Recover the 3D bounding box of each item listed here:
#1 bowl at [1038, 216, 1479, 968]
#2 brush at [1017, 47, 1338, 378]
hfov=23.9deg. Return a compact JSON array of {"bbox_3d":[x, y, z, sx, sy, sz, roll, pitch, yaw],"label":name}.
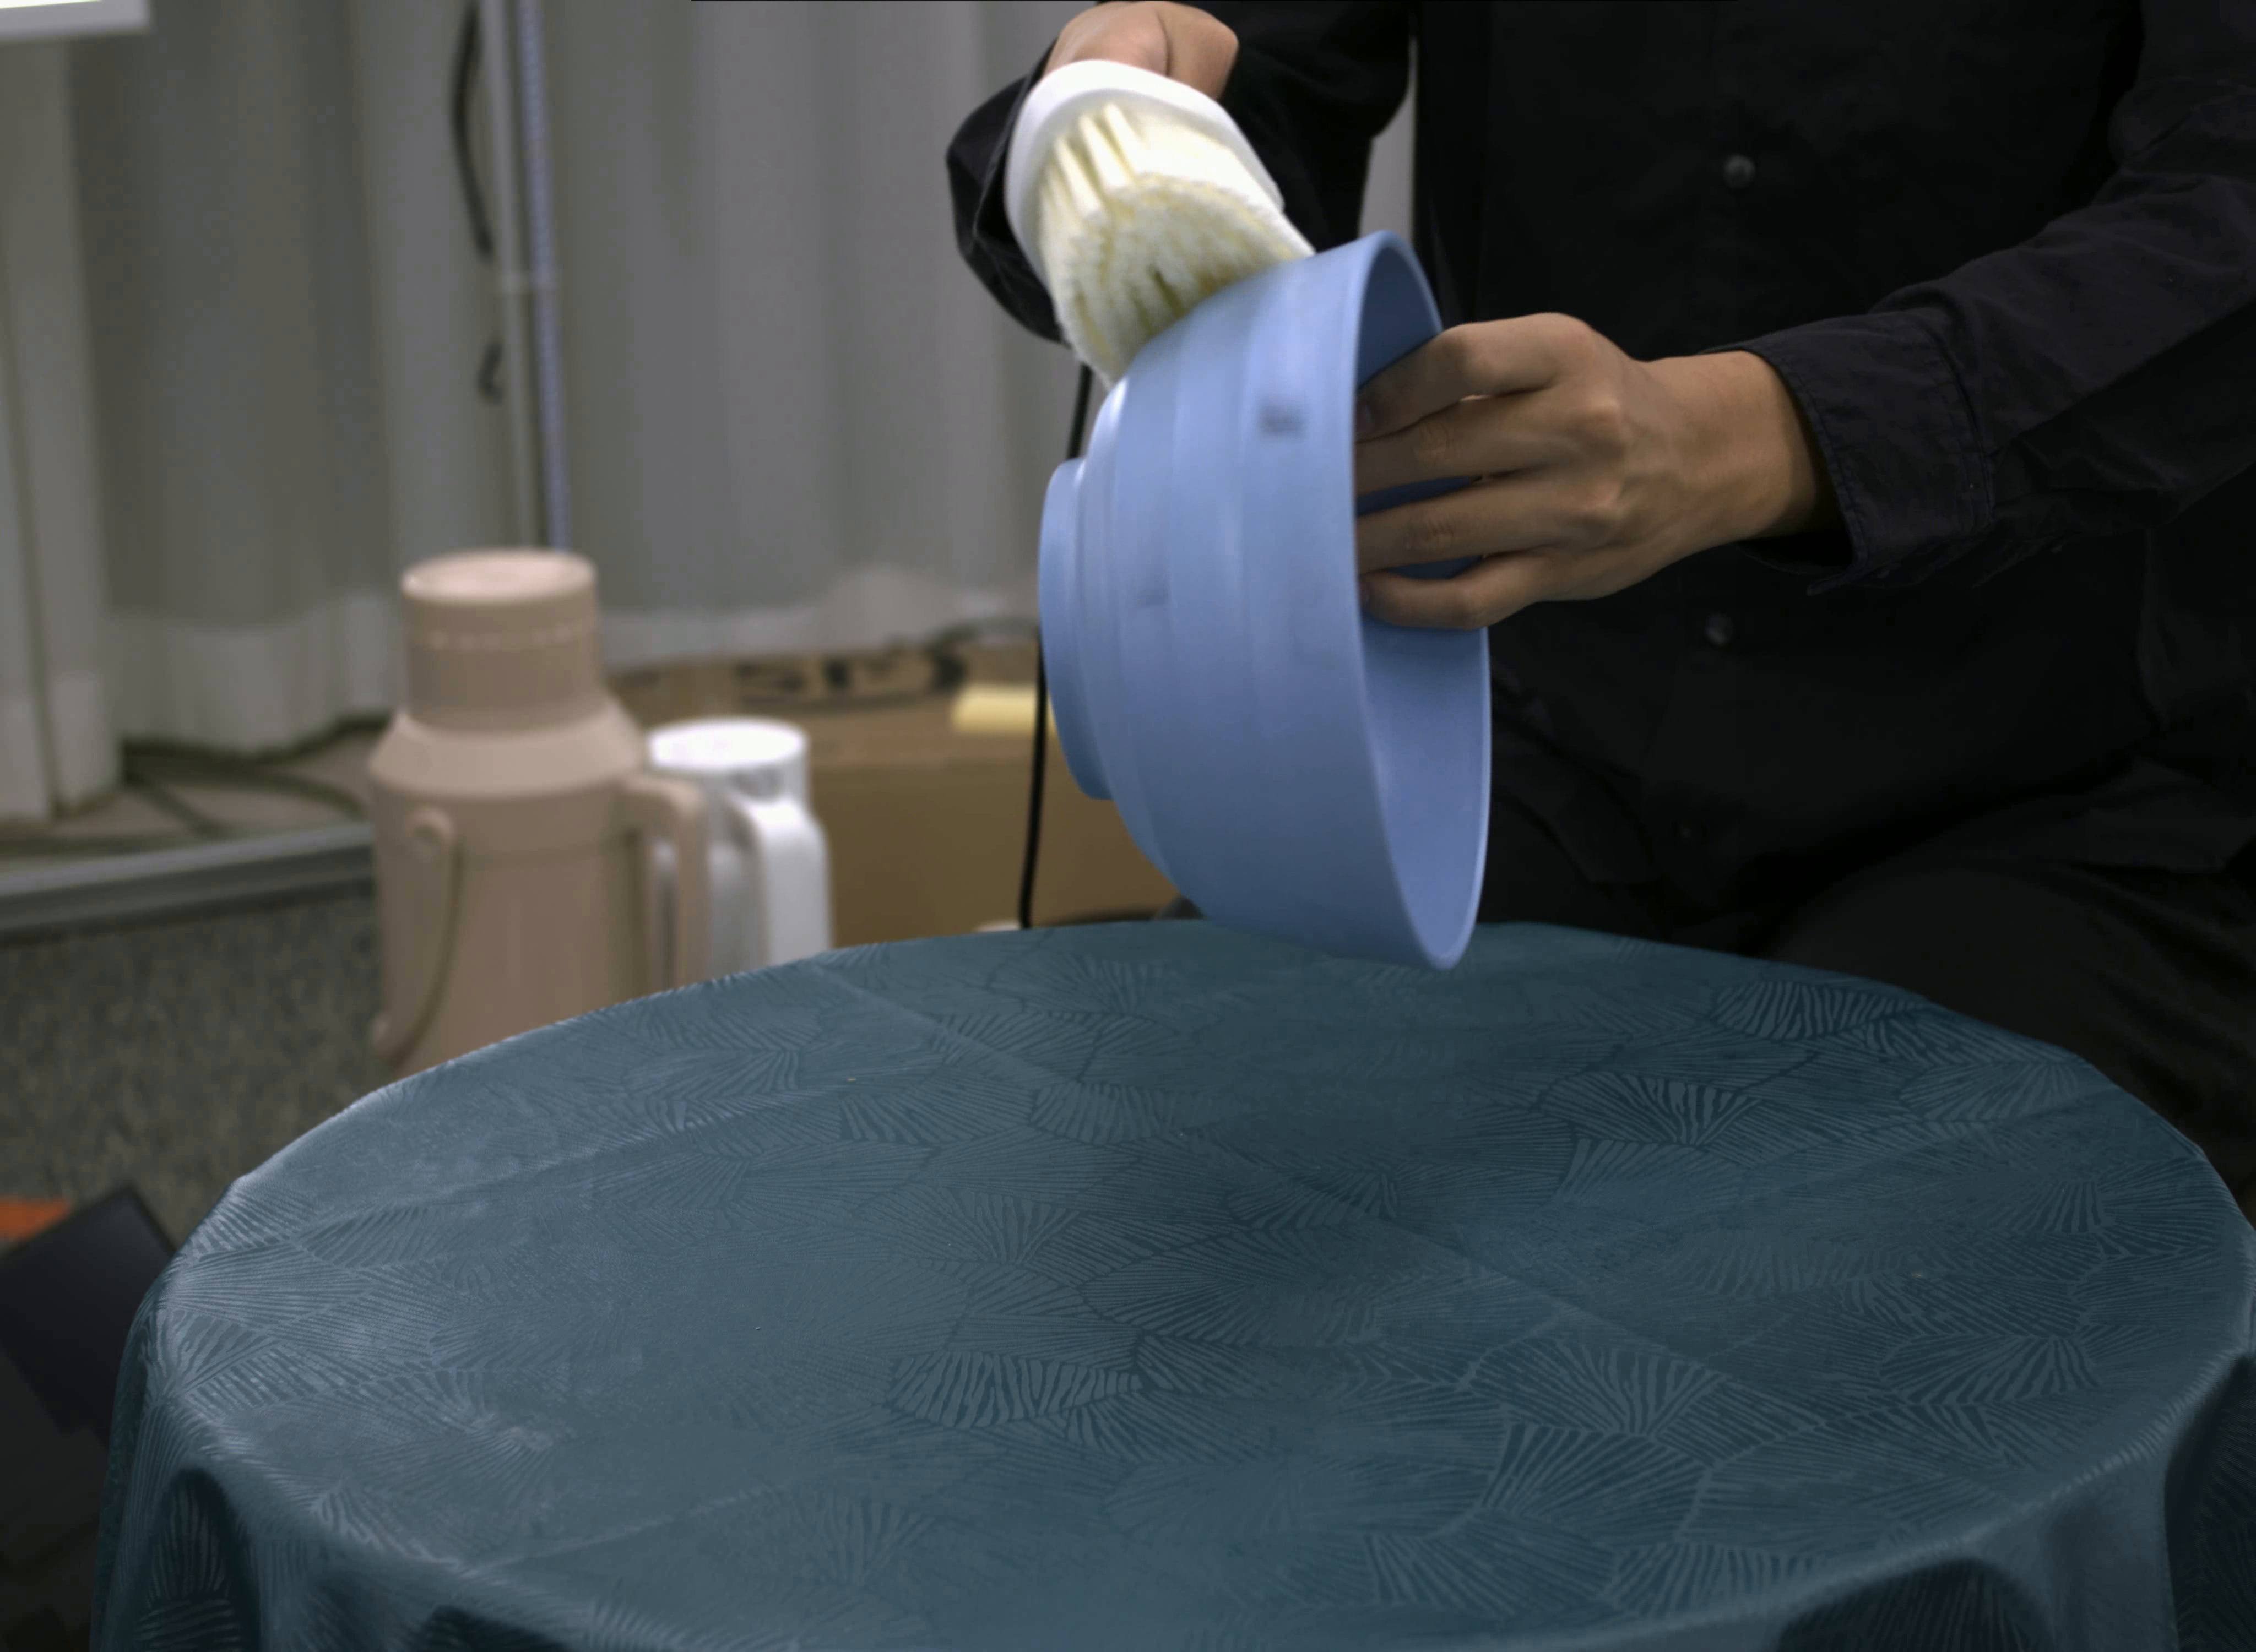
[{"bbox_3d":[0.032,-0.058,1.409,0.096,0.196,0.195,-4,15,13],"label":"bowl"},{"bbox_3d":[0.026,-0.159,1.512,0.083,0.085,0.323,7,-1,7],"label":"brush"}]
